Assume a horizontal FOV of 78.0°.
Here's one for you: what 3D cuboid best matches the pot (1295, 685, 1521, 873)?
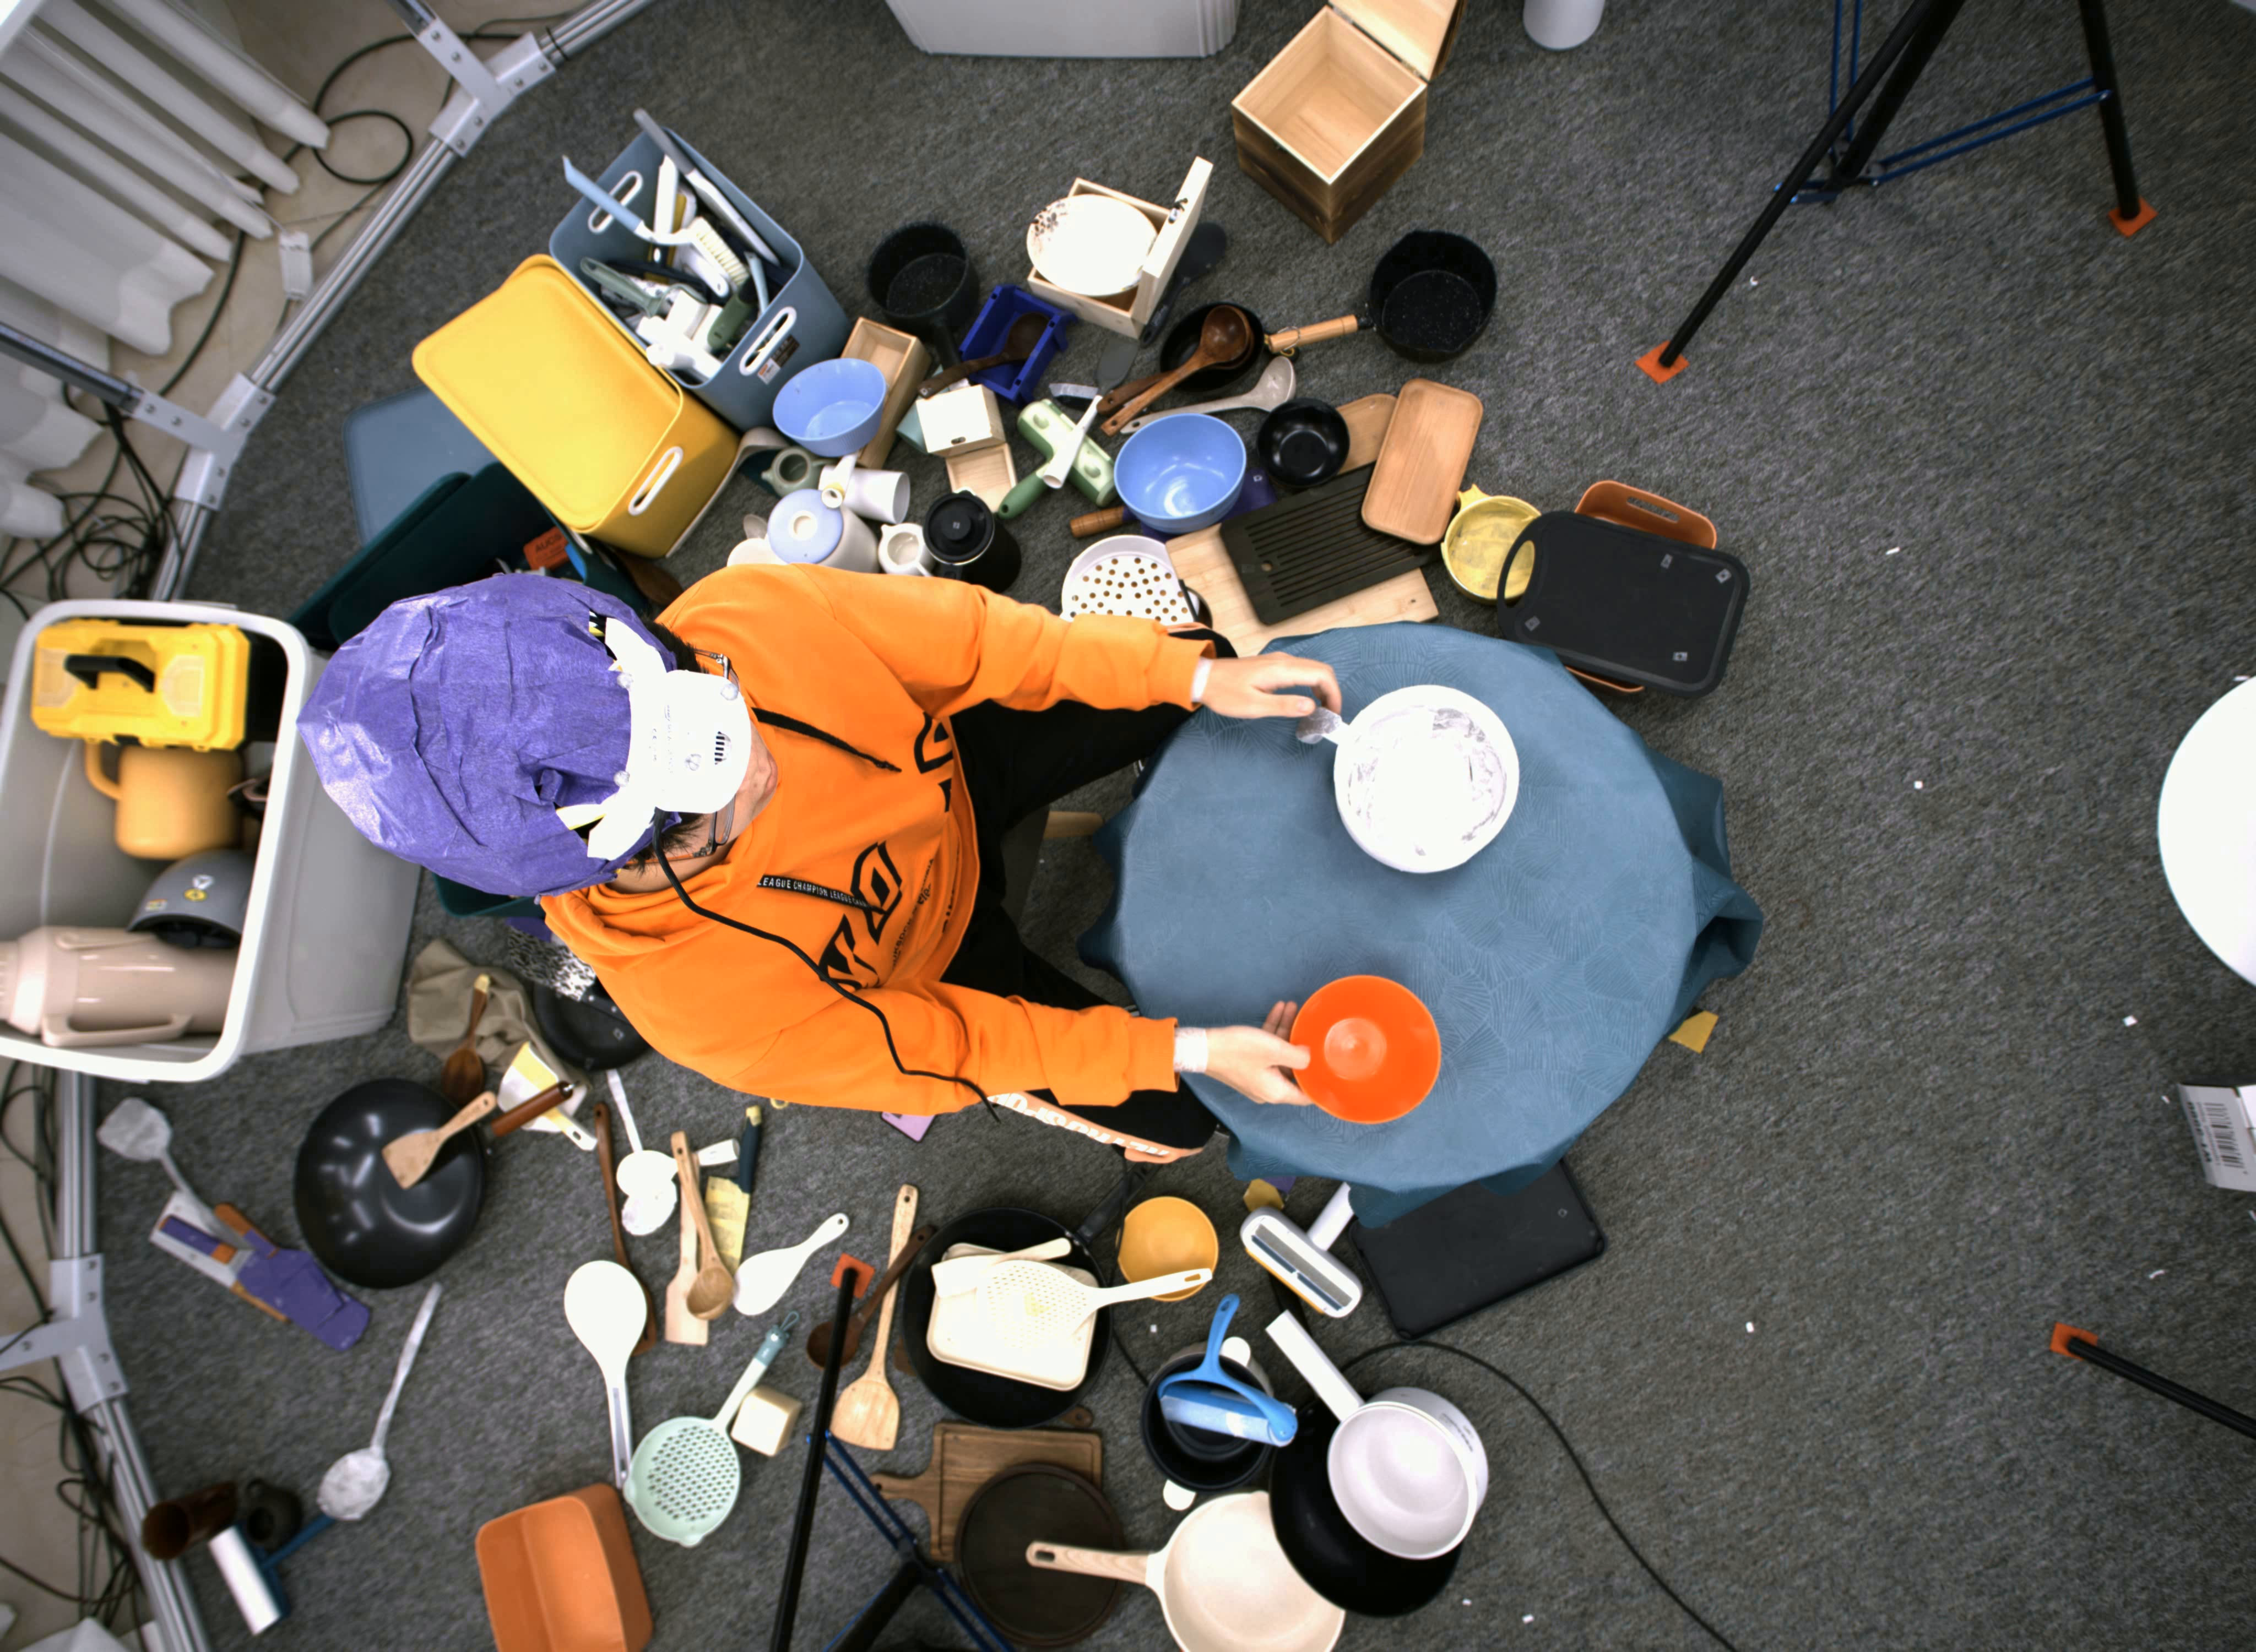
[{"bbox_3d":[0.274,-0.058,1.396,0.233,0.137,0.179,29,91,10],"label":"pot"}]

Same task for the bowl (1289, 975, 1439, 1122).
[{"bbox_3d":[0.238,0.221,1.406,0.148,0.104,0.148,0,89,8],"label":"bowl"}]
